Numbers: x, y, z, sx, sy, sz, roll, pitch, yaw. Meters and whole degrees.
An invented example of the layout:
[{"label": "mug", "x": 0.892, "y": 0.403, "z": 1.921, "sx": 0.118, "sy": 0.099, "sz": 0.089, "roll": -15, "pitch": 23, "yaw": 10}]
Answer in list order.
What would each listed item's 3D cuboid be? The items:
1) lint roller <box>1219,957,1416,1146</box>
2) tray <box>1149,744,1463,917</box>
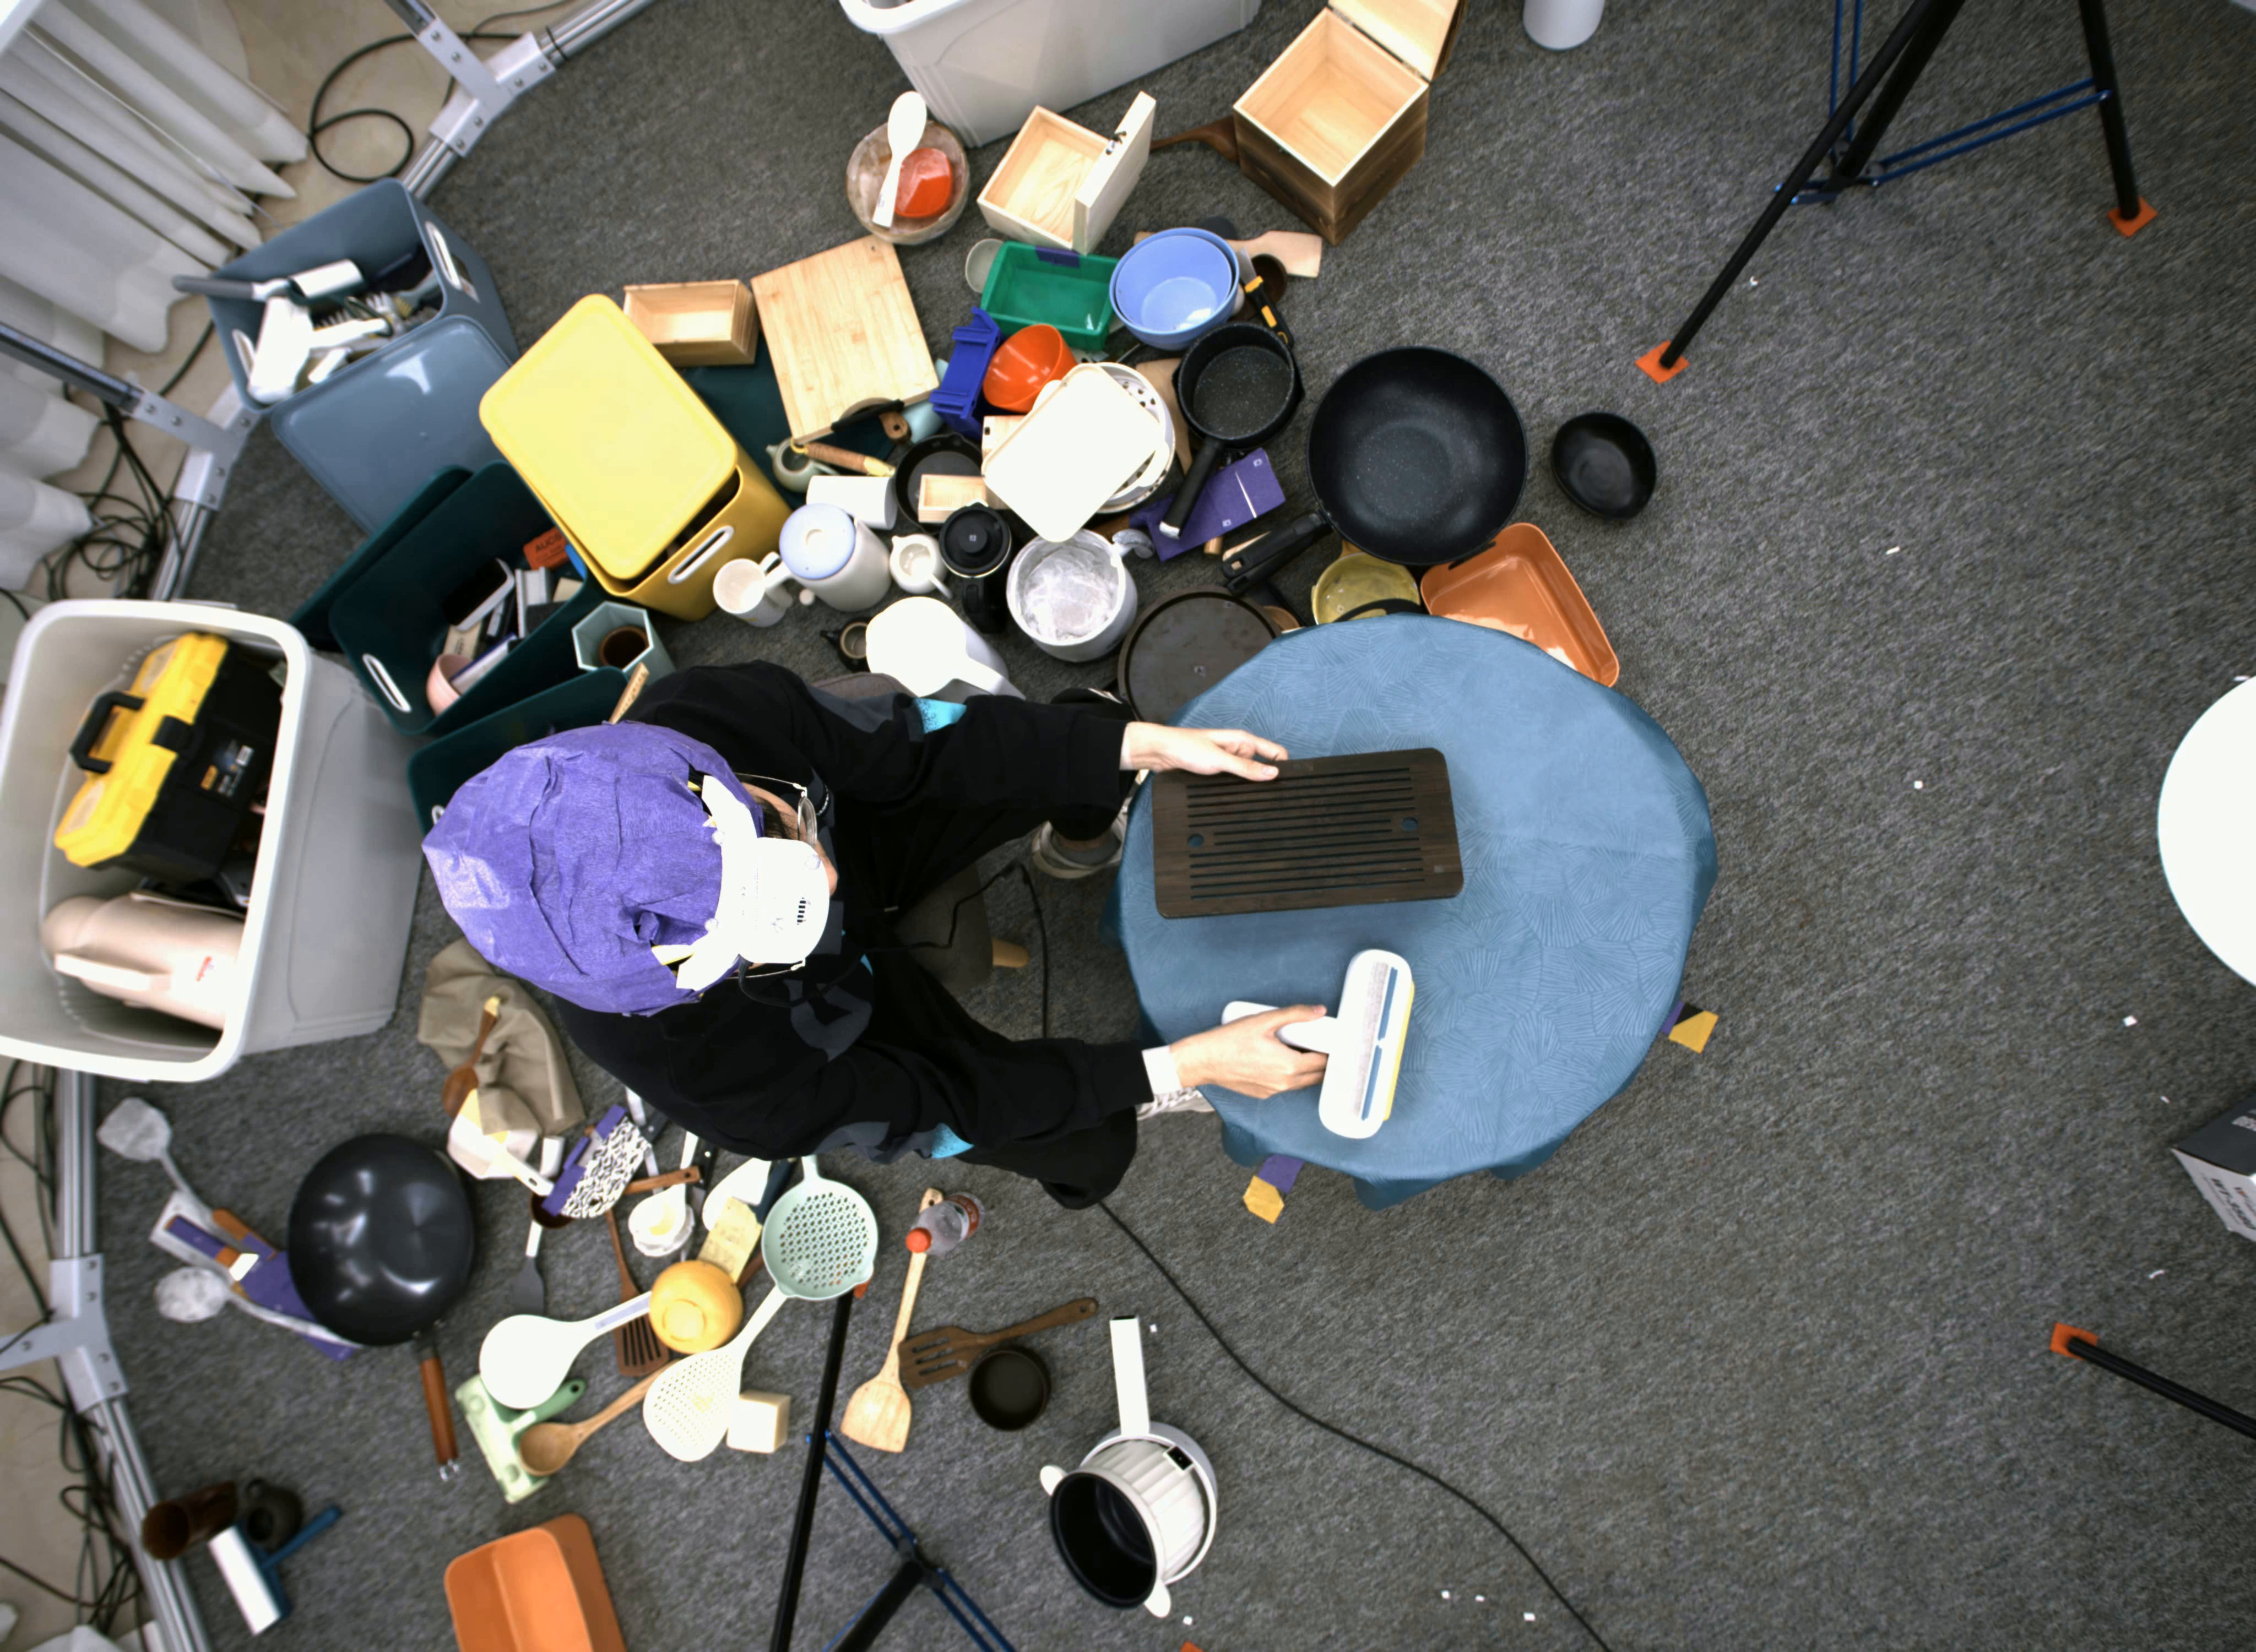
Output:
[{"label": "lint roller", "x": 0.185, "y": 0.214, "z": 1.429, "sx": 0.192, "sy": 0.074, "sz": 0.191, "roll": 15, "pitch": 84, "yaw": 12}, {"label": "tray", "x": 0.176, "y": 0.004, "z": 1.400, "sx": 0.307, "sy": 0.019, "sz": 0.166, "roll": -5, "pitch": 65, "yaw": 7}]
